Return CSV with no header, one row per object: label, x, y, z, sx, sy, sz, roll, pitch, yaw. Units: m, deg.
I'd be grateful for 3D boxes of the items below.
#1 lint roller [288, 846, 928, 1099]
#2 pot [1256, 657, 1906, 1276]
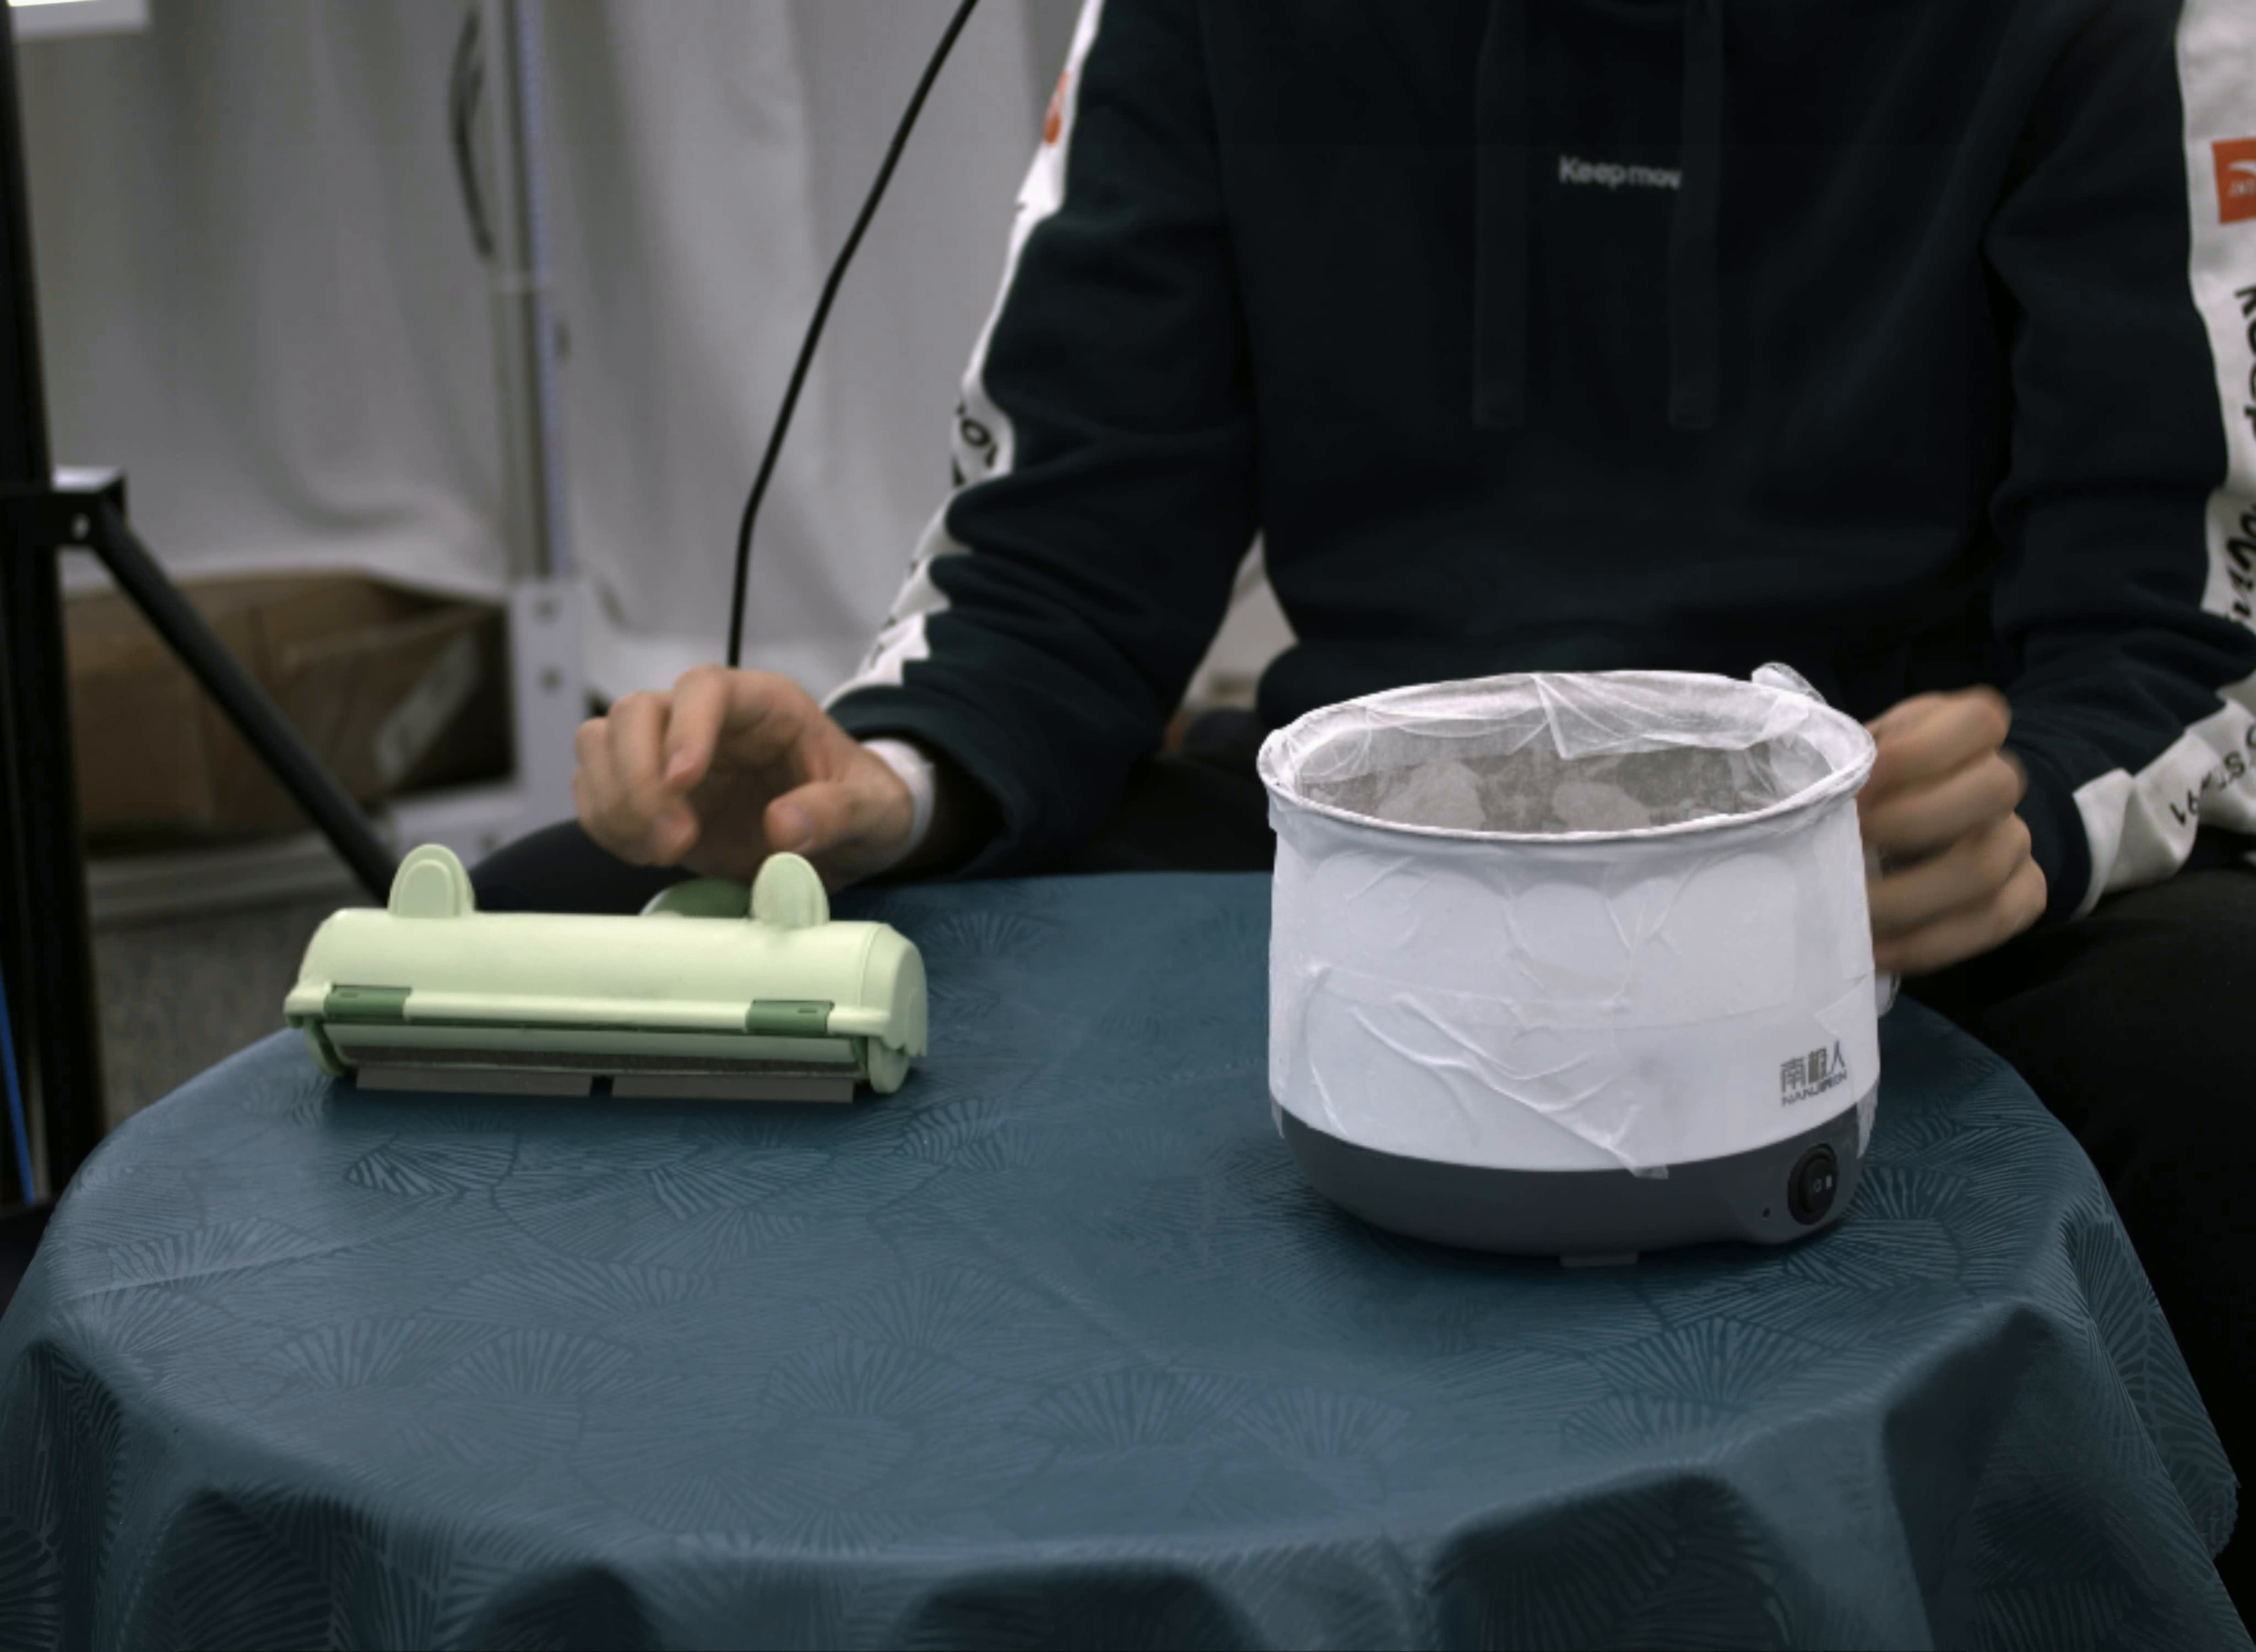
lint roller,-0.152,0.029,1.724,0.200,0.082,0.182,1,21,14
pot,0.146,0.033,1.543,0.183,0.136,0.228,13,23,42
